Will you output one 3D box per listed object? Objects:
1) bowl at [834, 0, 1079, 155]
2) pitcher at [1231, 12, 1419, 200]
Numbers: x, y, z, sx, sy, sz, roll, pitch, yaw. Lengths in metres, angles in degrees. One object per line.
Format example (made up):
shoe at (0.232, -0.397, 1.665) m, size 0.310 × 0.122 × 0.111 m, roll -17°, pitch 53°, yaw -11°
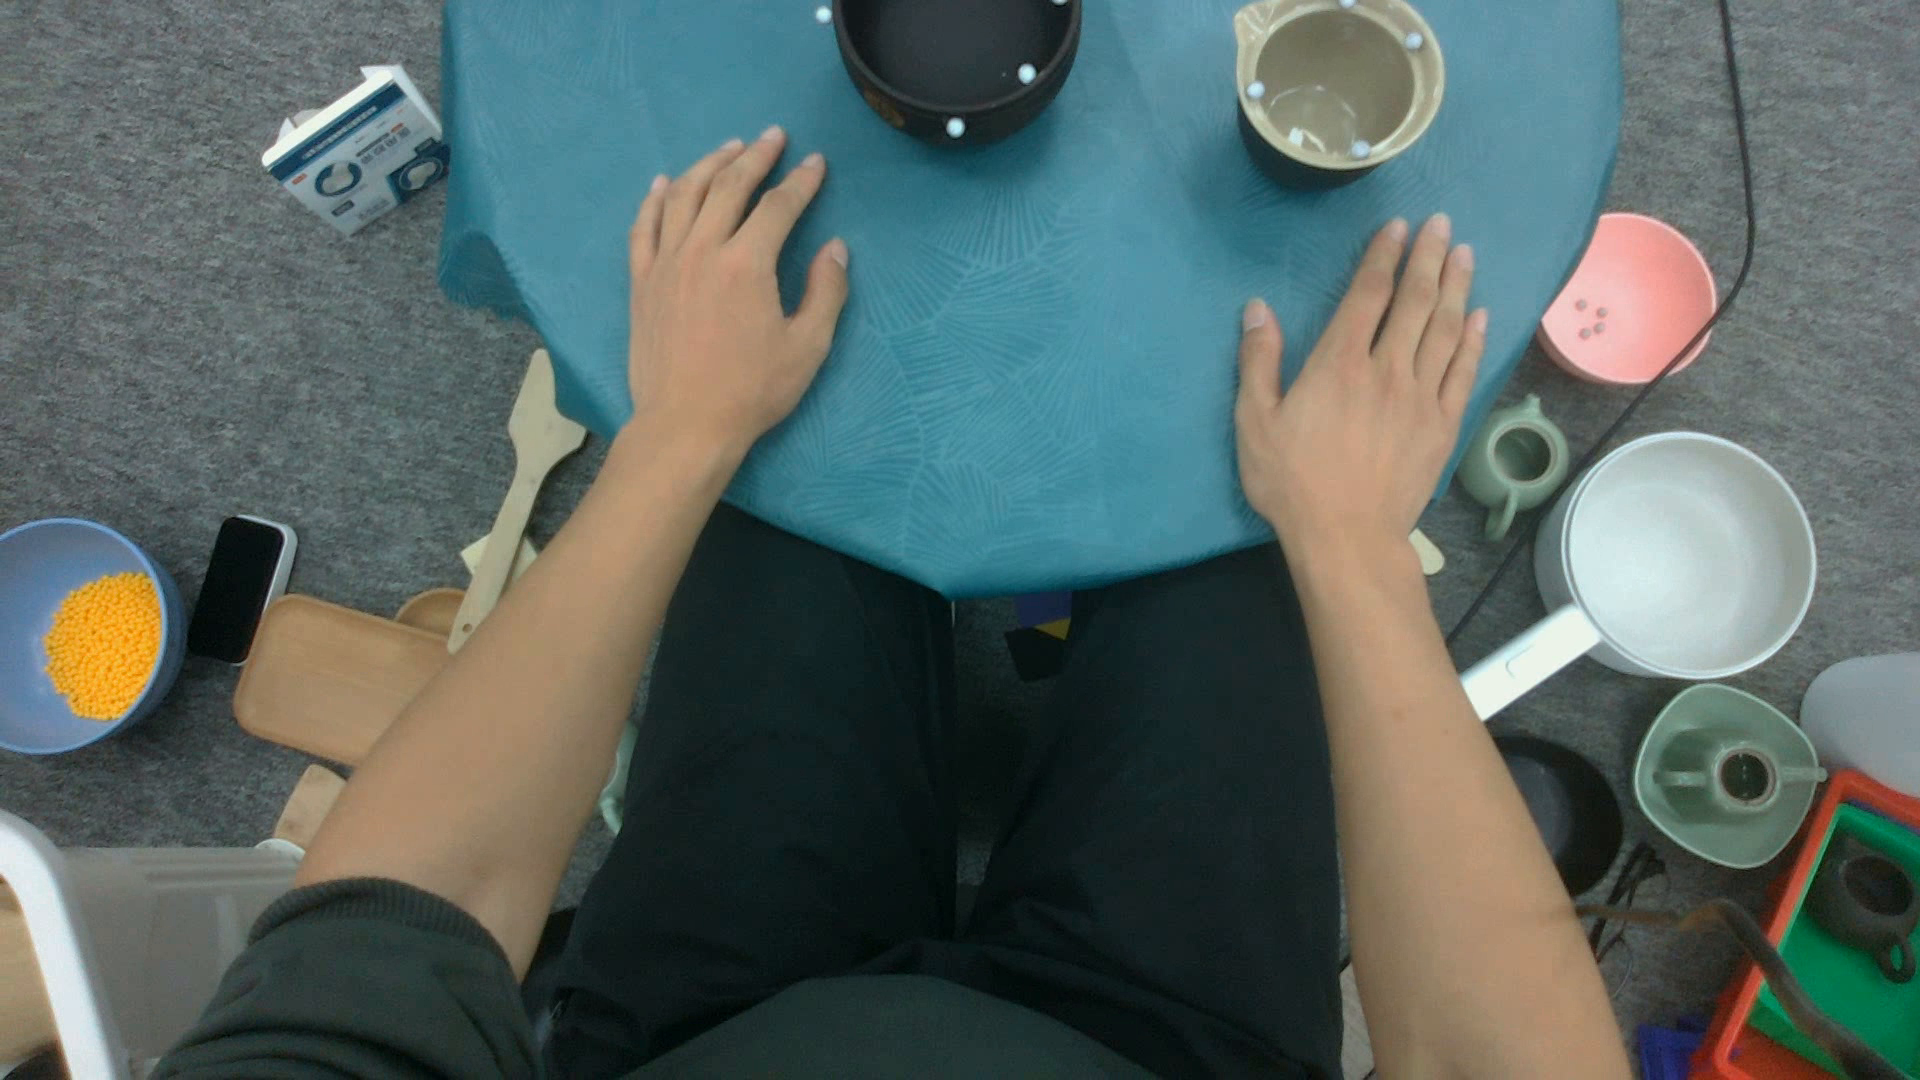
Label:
bowl at (-0.001, -0.245, 0.683) m, size 0.118 × 0.070 × 0.118 m, roll 0°, pitch 80°, yaw 1°
pitcher at (0.168, -0.208, 0.670) m, size 0.096 × 0.071 × 0.084 m, roll 40°, pitch 86°, yaw 6°
